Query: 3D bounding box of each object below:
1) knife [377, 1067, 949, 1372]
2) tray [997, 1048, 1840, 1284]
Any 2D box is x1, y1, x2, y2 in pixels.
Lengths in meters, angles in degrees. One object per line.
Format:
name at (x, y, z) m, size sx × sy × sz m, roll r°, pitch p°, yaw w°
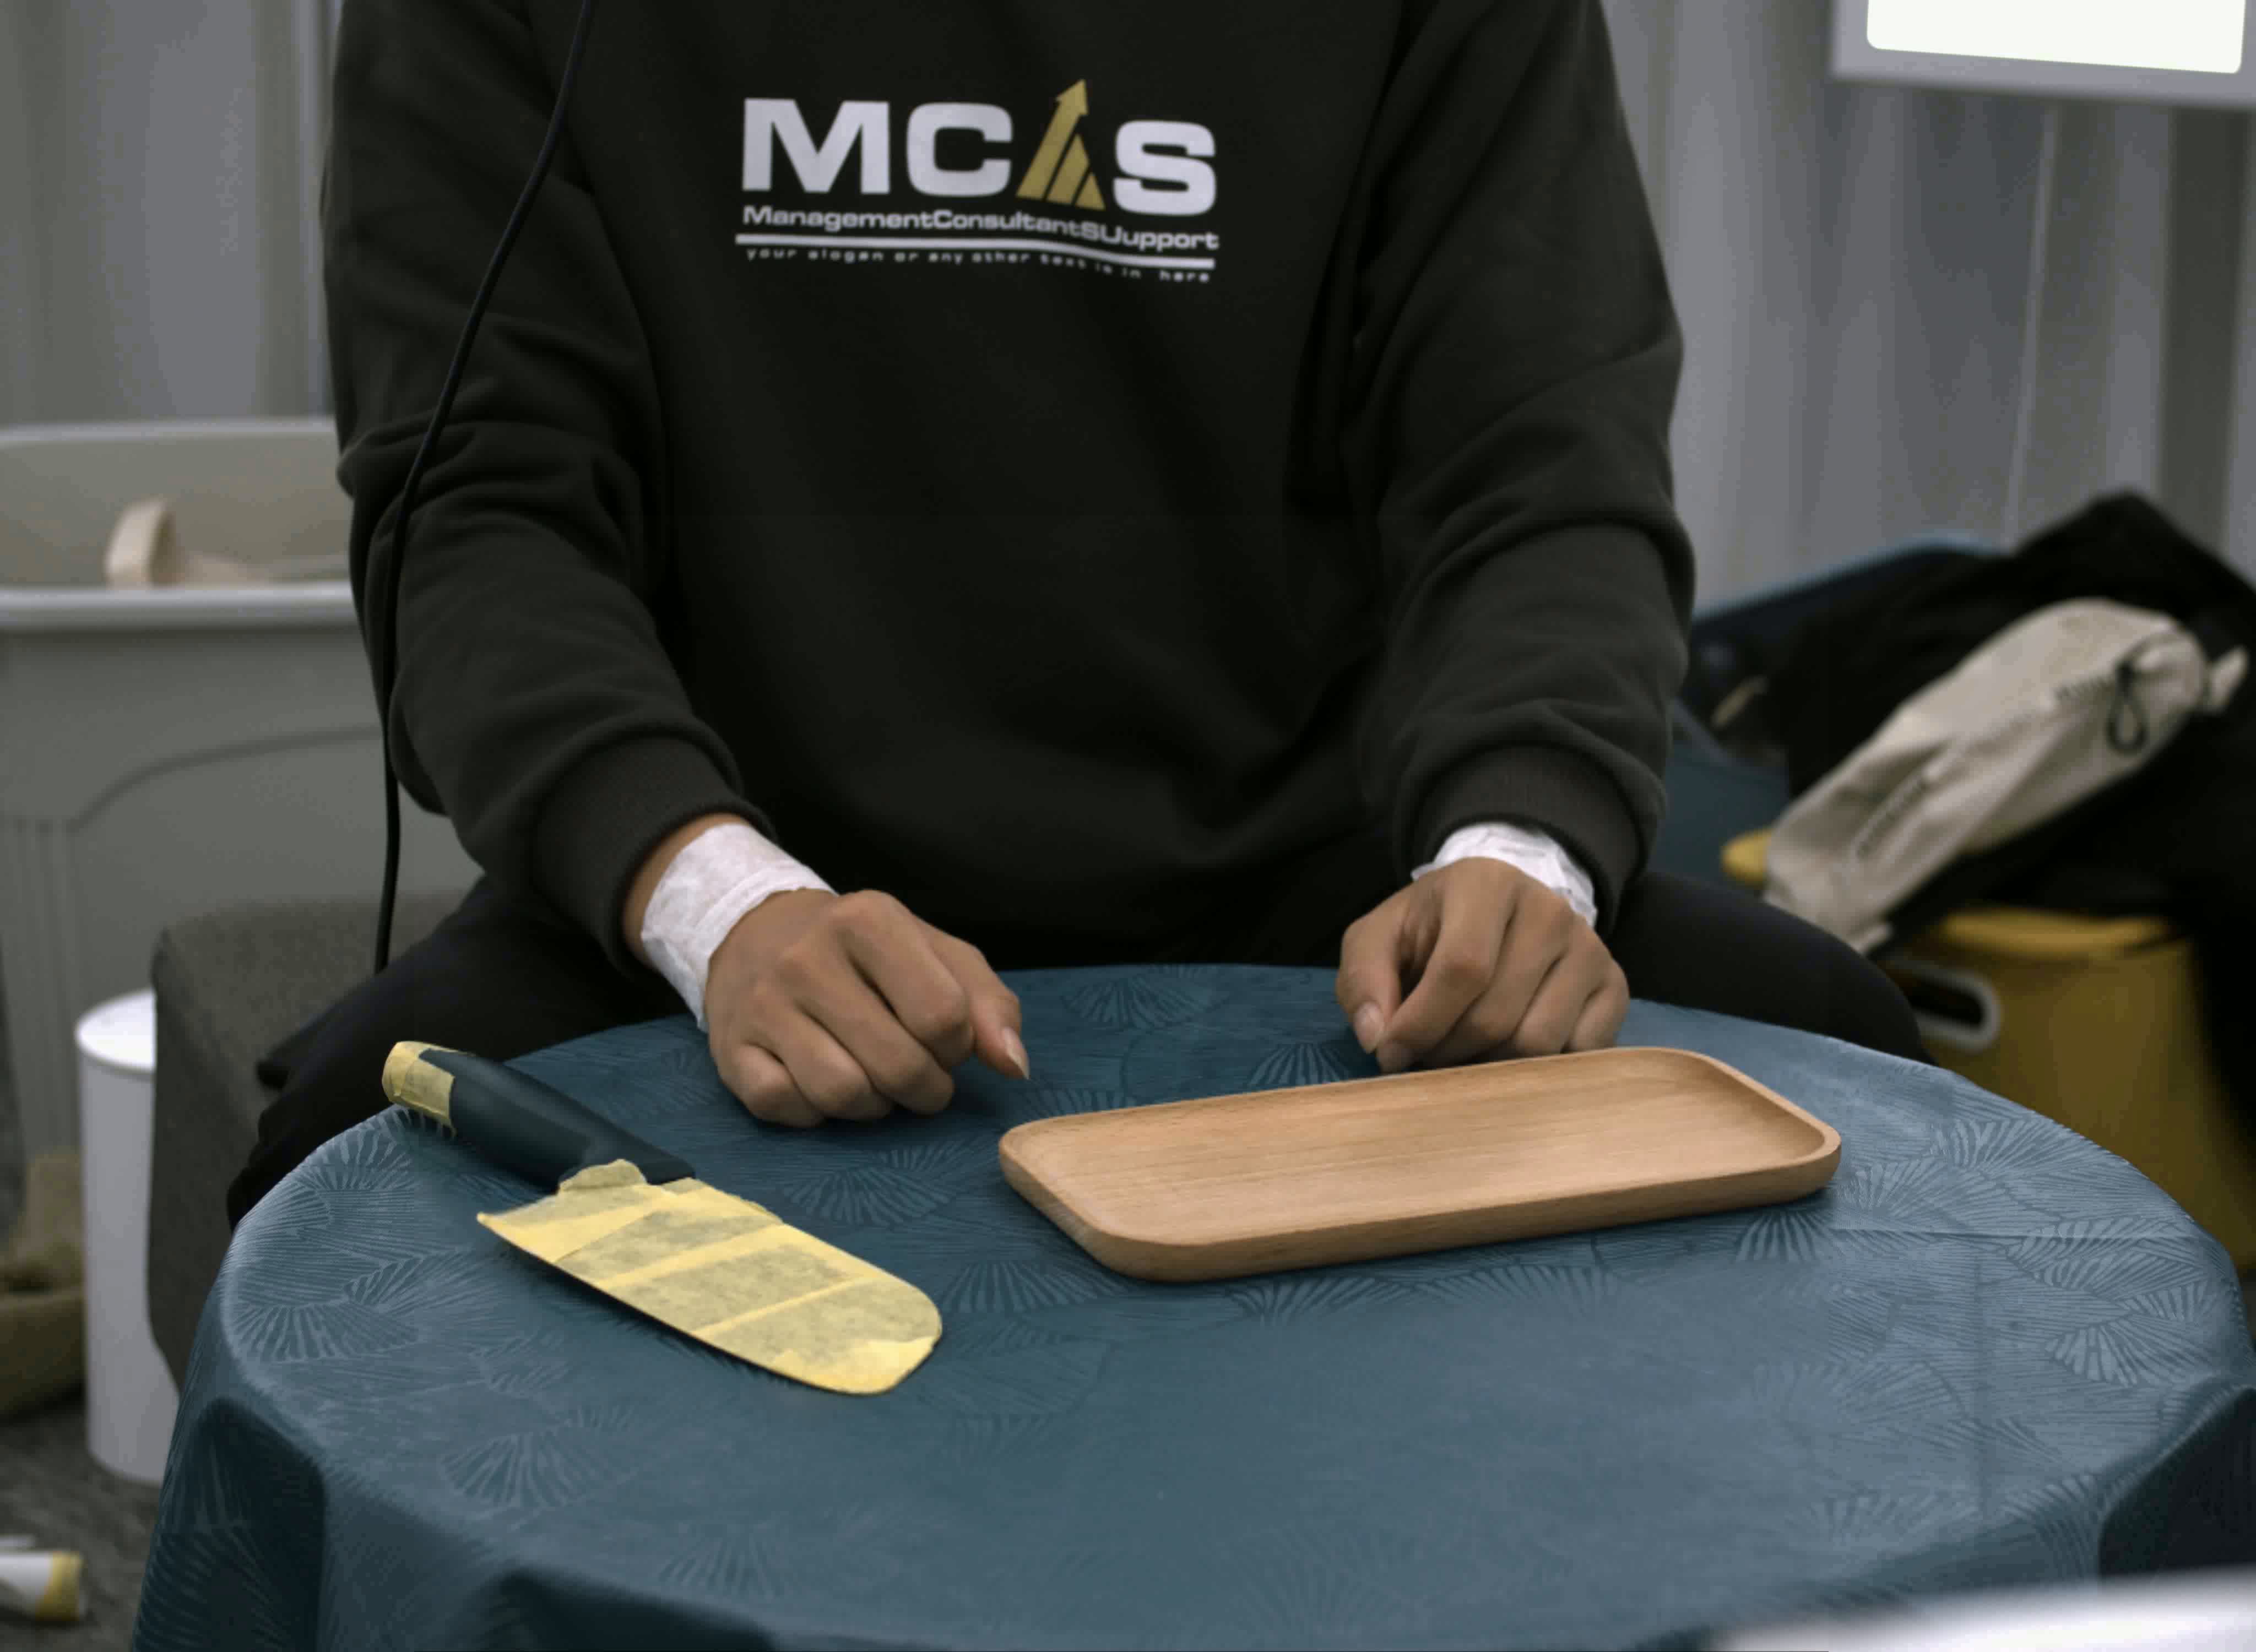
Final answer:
knife at (-0.151, 0.118, 1.570) m, size 0.081 × 0.027 × 0.285 m, roll -10°, pitch 19°, yaw -38°
tray at (0.090, 0.104, 1.629) m, size 0.251 × 0.023 × 0.129 m, roll -6°, pitch 14°, yaw -22°
